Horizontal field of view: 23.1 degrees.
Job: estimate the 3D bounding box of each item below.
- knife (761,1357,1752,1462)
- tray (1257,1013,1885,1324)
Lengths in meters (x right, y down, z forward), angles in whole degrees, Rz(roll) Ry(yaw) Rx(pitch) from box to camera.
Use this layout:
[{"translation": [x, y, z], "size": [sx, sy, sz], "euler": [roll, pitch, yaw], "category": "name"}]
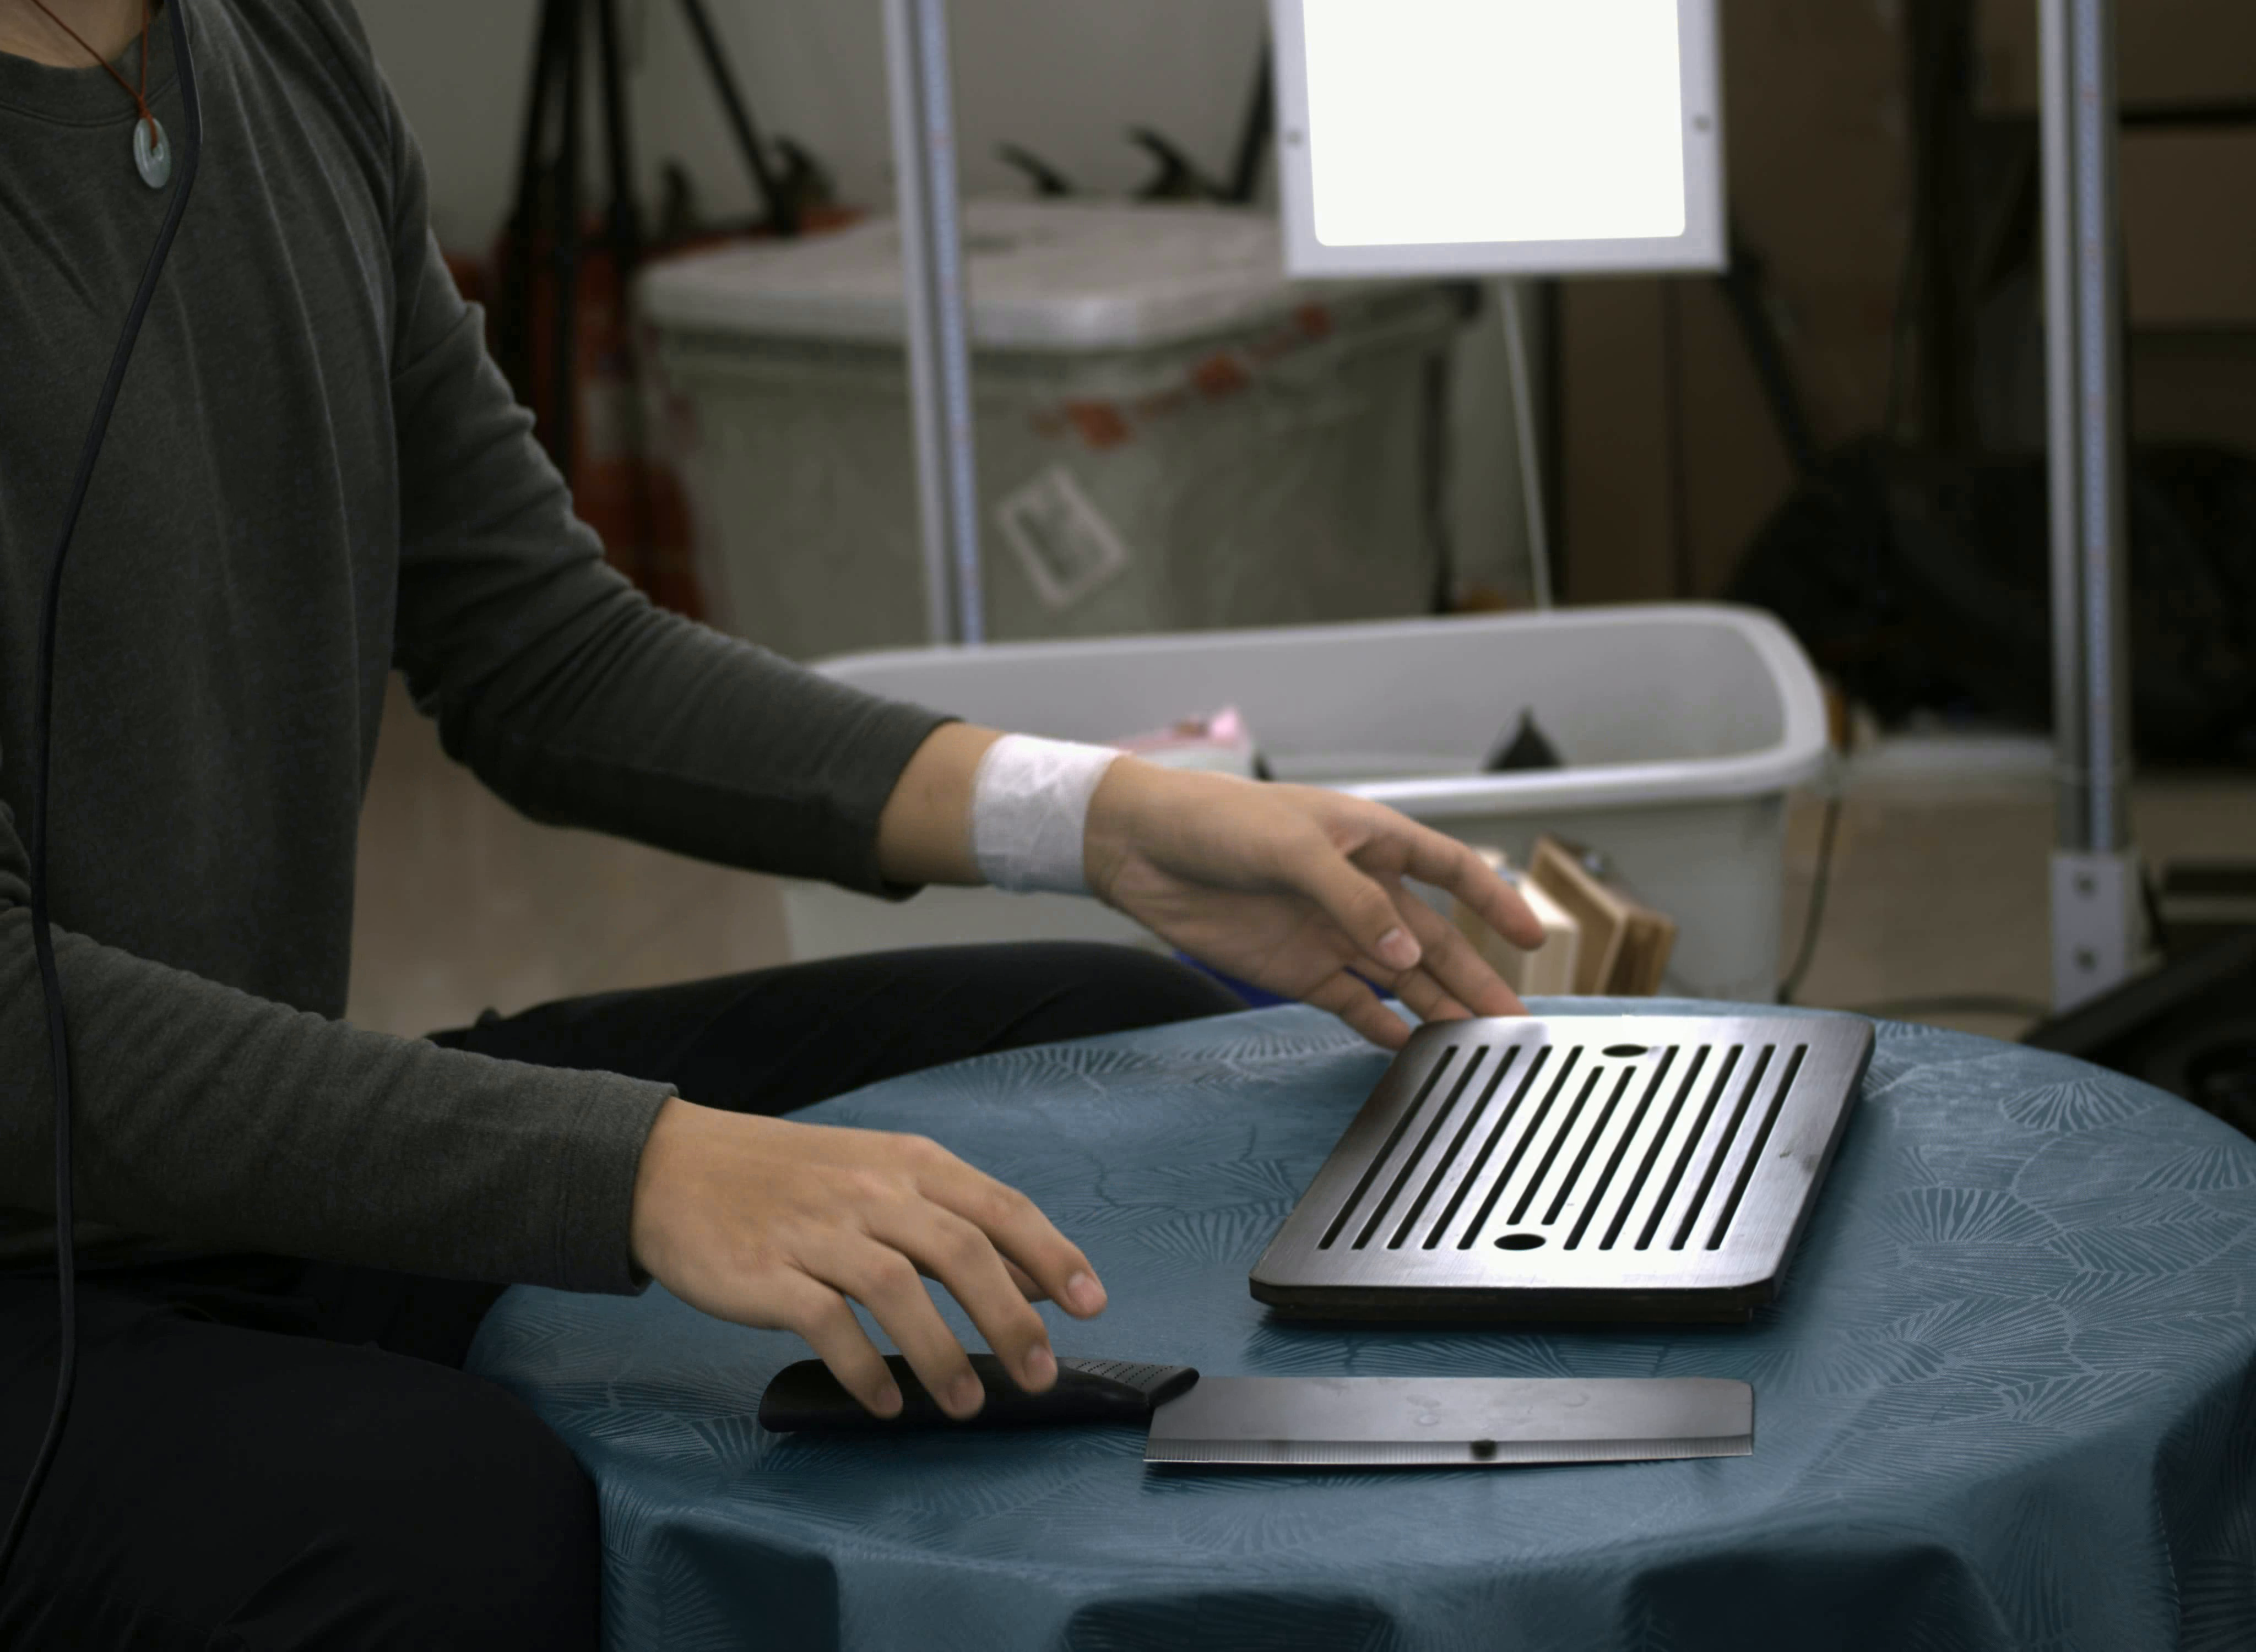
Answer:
[{"translation": [0.039, 0.177, 1.655], "size": [0.305, 0.021, 0.080], "euler": [0, 16, 13], "category": "knife"}, {"translation": [0.157, 0.114, 1.859], "size": [0.172, 0.019, 0.301], "euler": [-2, 14, 16], "category": "tray"}]
